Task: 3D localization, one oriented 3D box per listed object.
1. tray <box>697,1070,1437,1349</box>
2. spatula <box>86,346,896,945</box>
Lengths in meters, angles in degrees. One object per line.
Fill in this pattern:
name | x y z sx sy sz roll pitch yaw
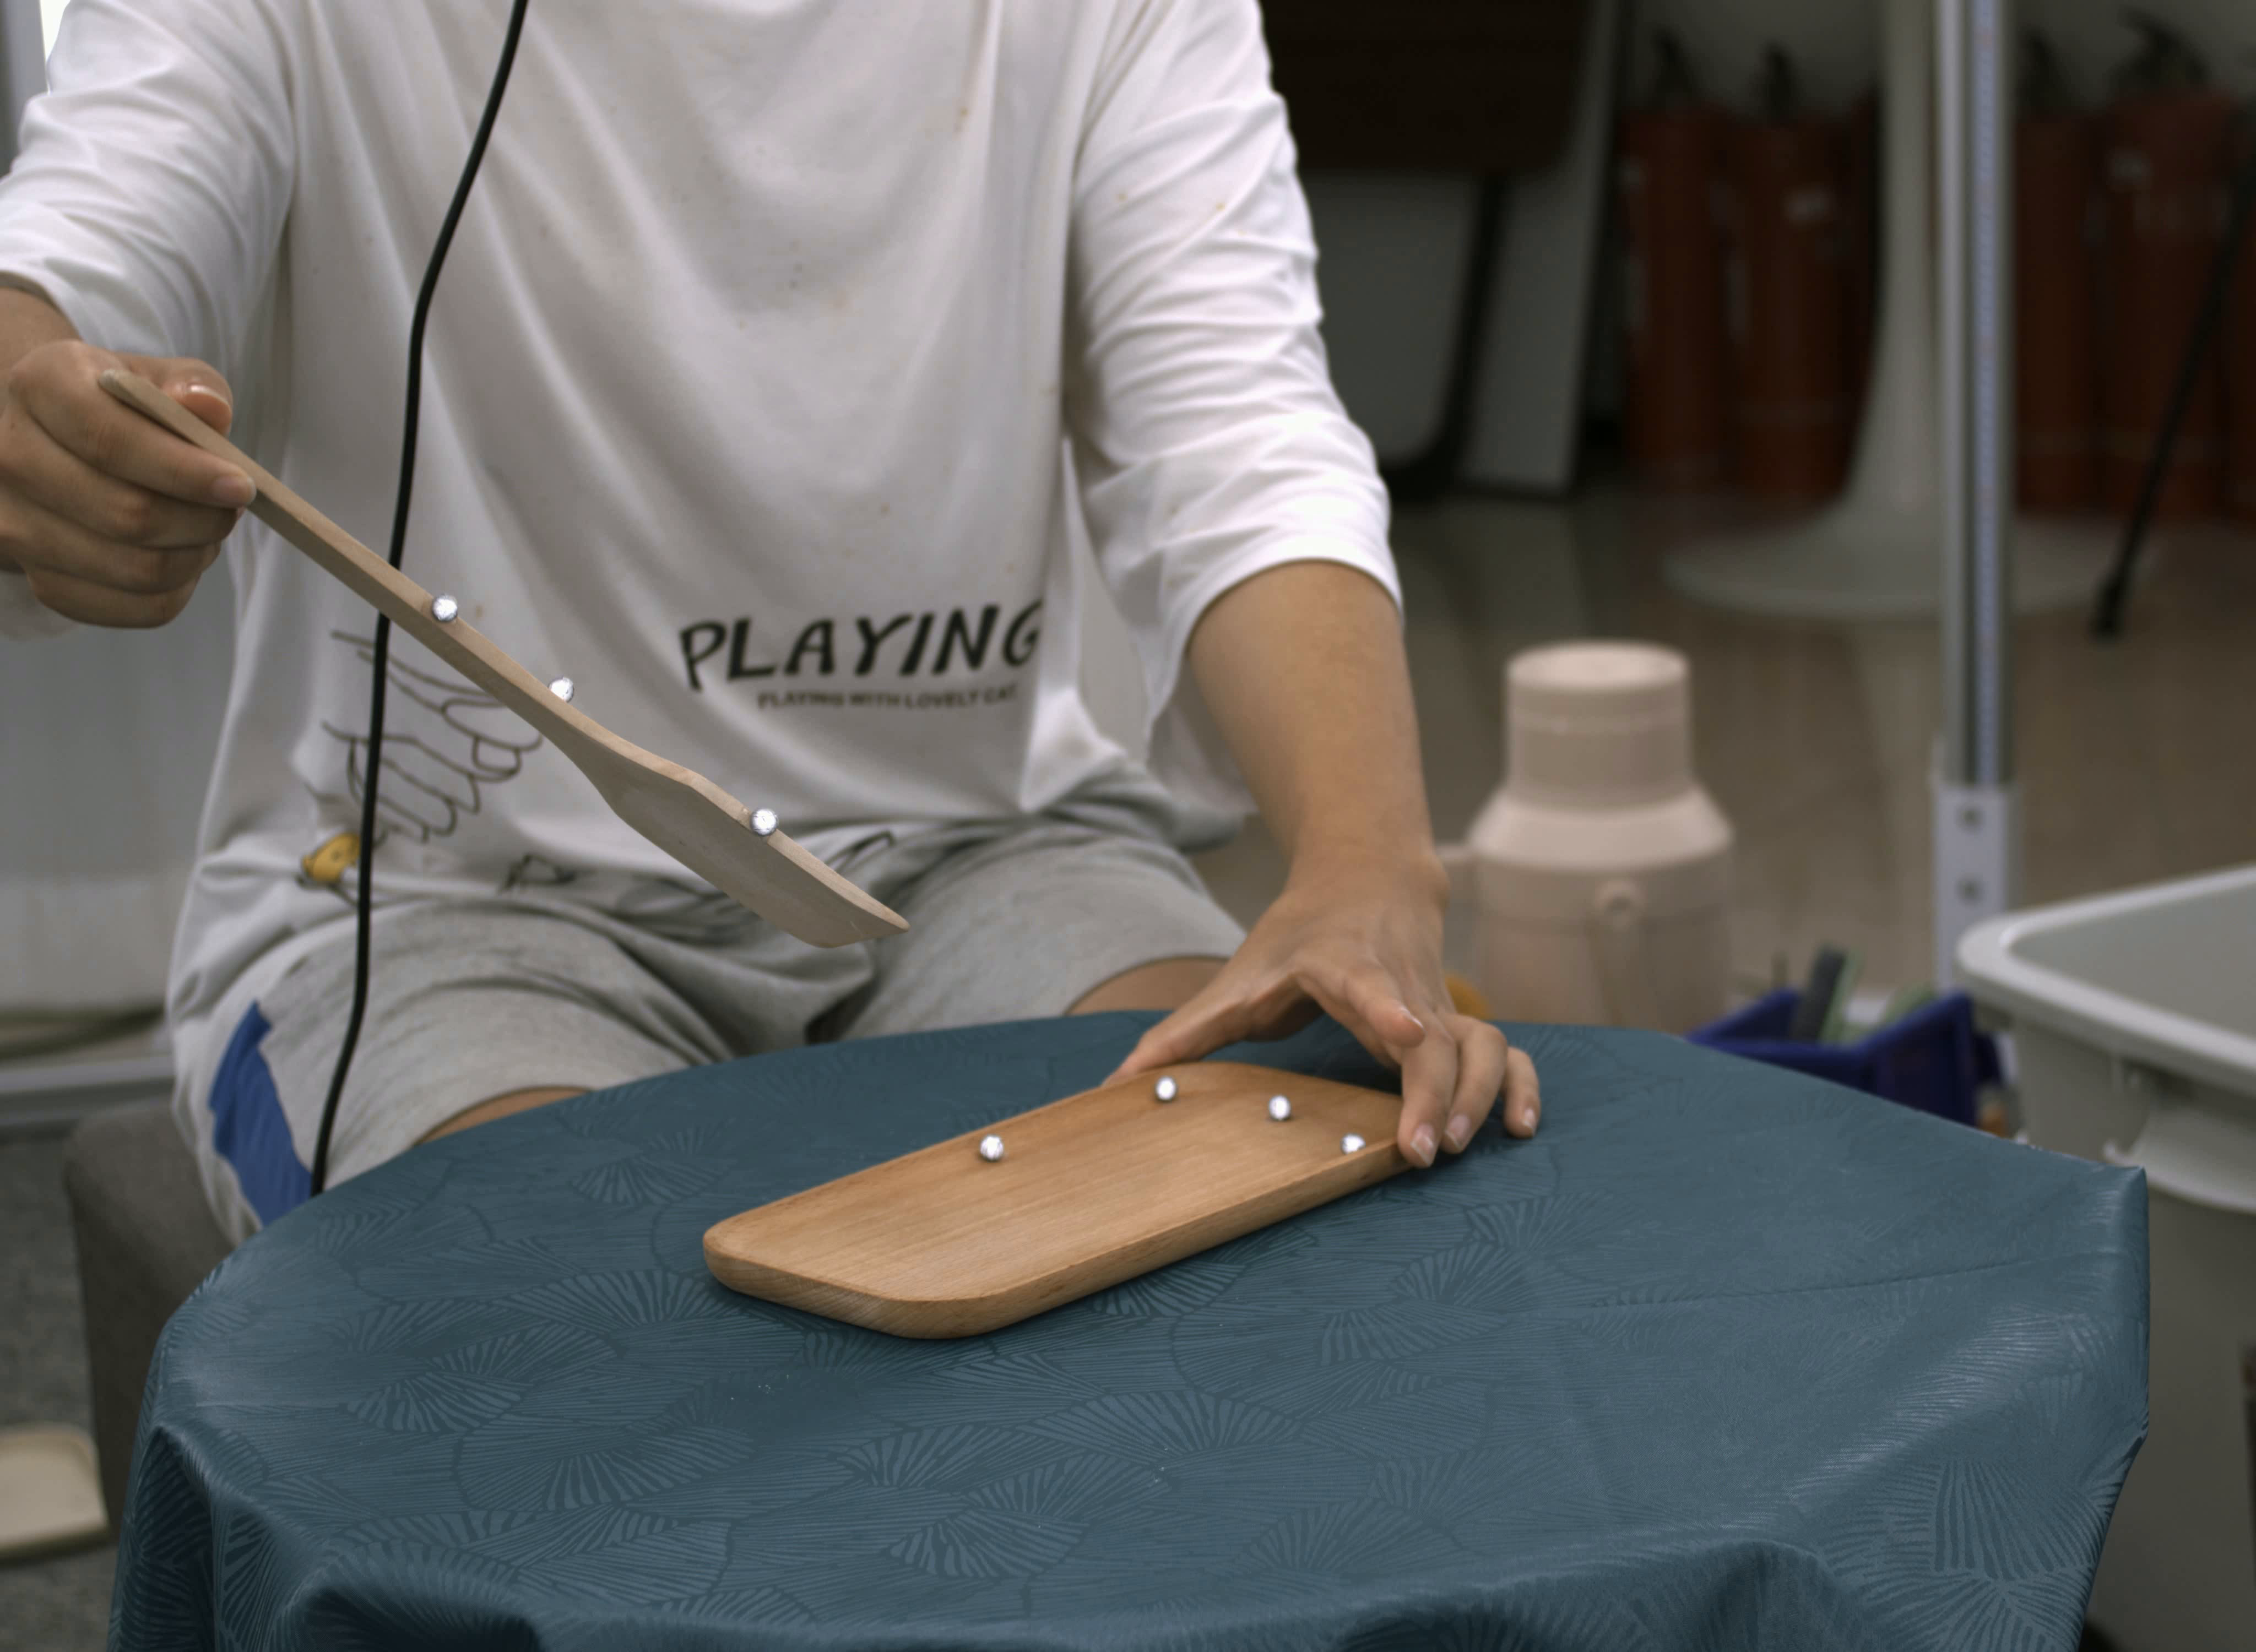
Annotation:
tray | -0.016 0.122 1.749 0.245 0.023 0.132 -17 16 -42
spatula | -0.192 -0.051 1.625 0.010 0.290 0.073 -57 16 -19
